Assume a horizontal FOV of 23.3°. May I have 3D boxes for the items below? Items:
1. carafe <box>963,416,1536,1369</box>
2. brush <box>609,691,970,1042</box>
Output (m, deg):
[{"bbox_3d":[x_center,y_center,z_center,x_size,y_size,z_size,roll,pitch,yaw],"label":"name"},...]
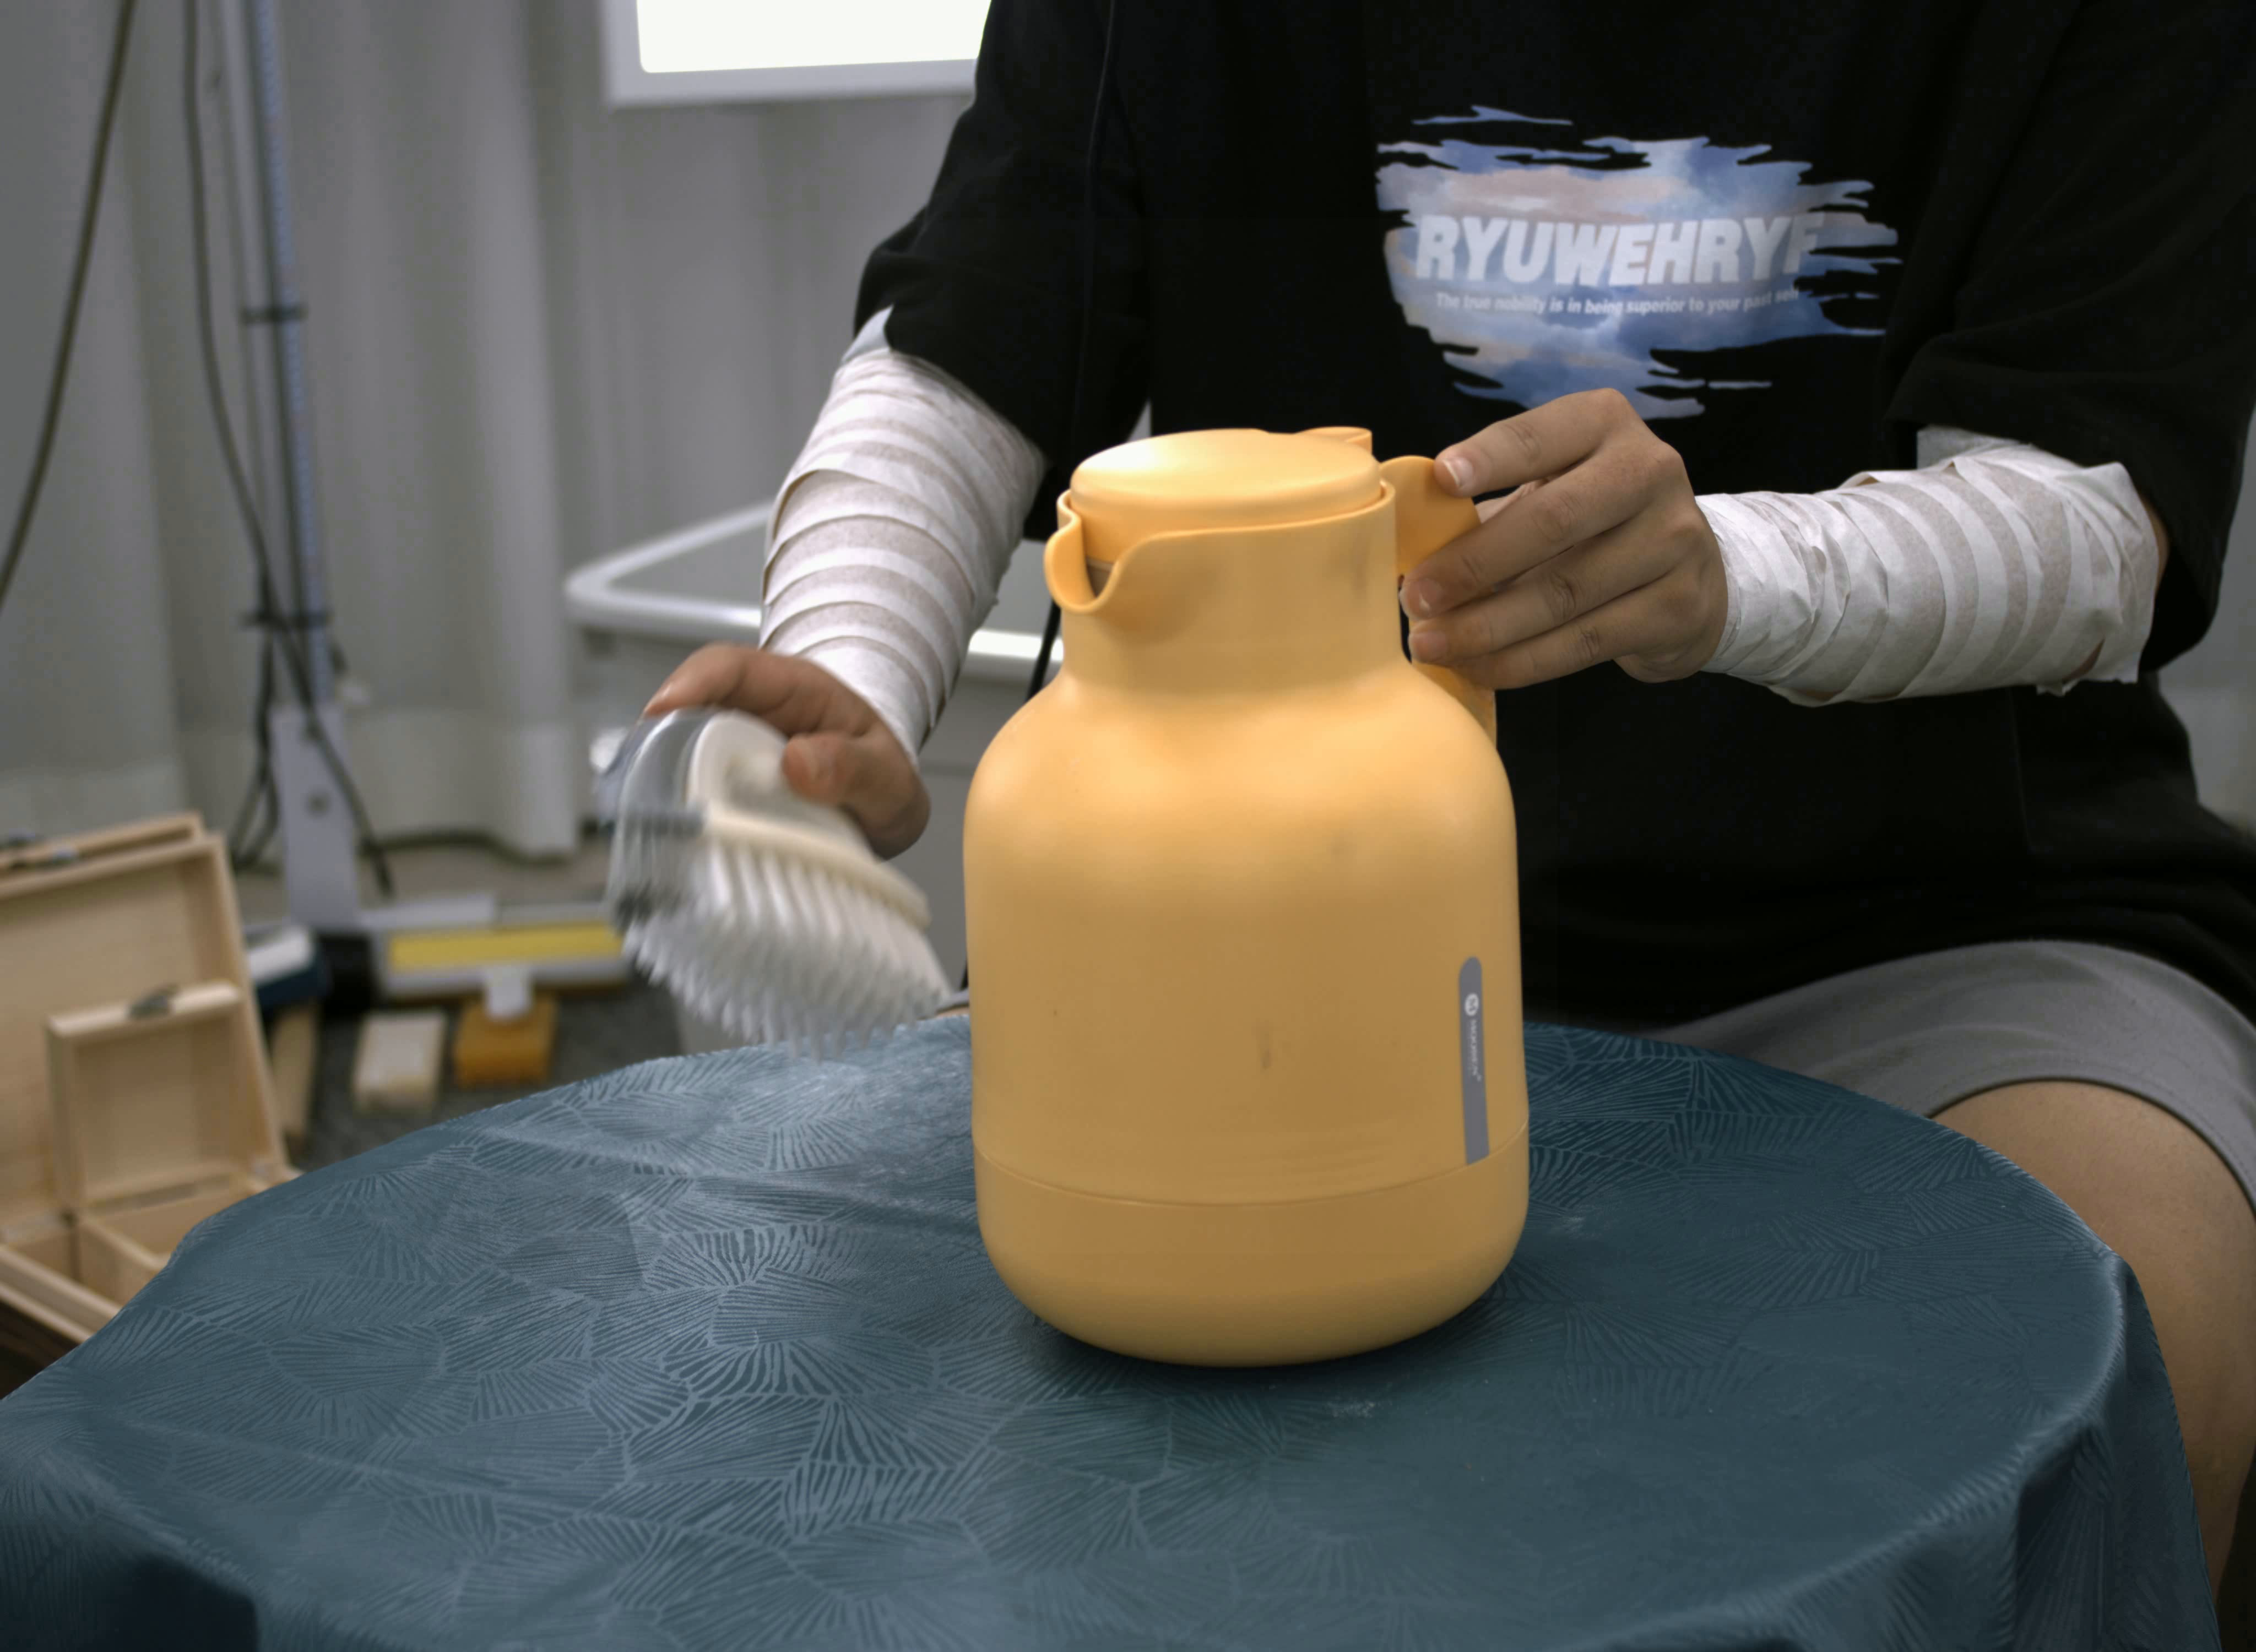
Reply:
[{"bbox_3d":[0.046,0.011,1.591,0.164,0.259,0.202,10,20,37],"label":"carafe"},{"bbox_3d":[-0.114,0.000,1.659,0.061,0.095,0.174,-27,-24,14],"label":"brush"}]
